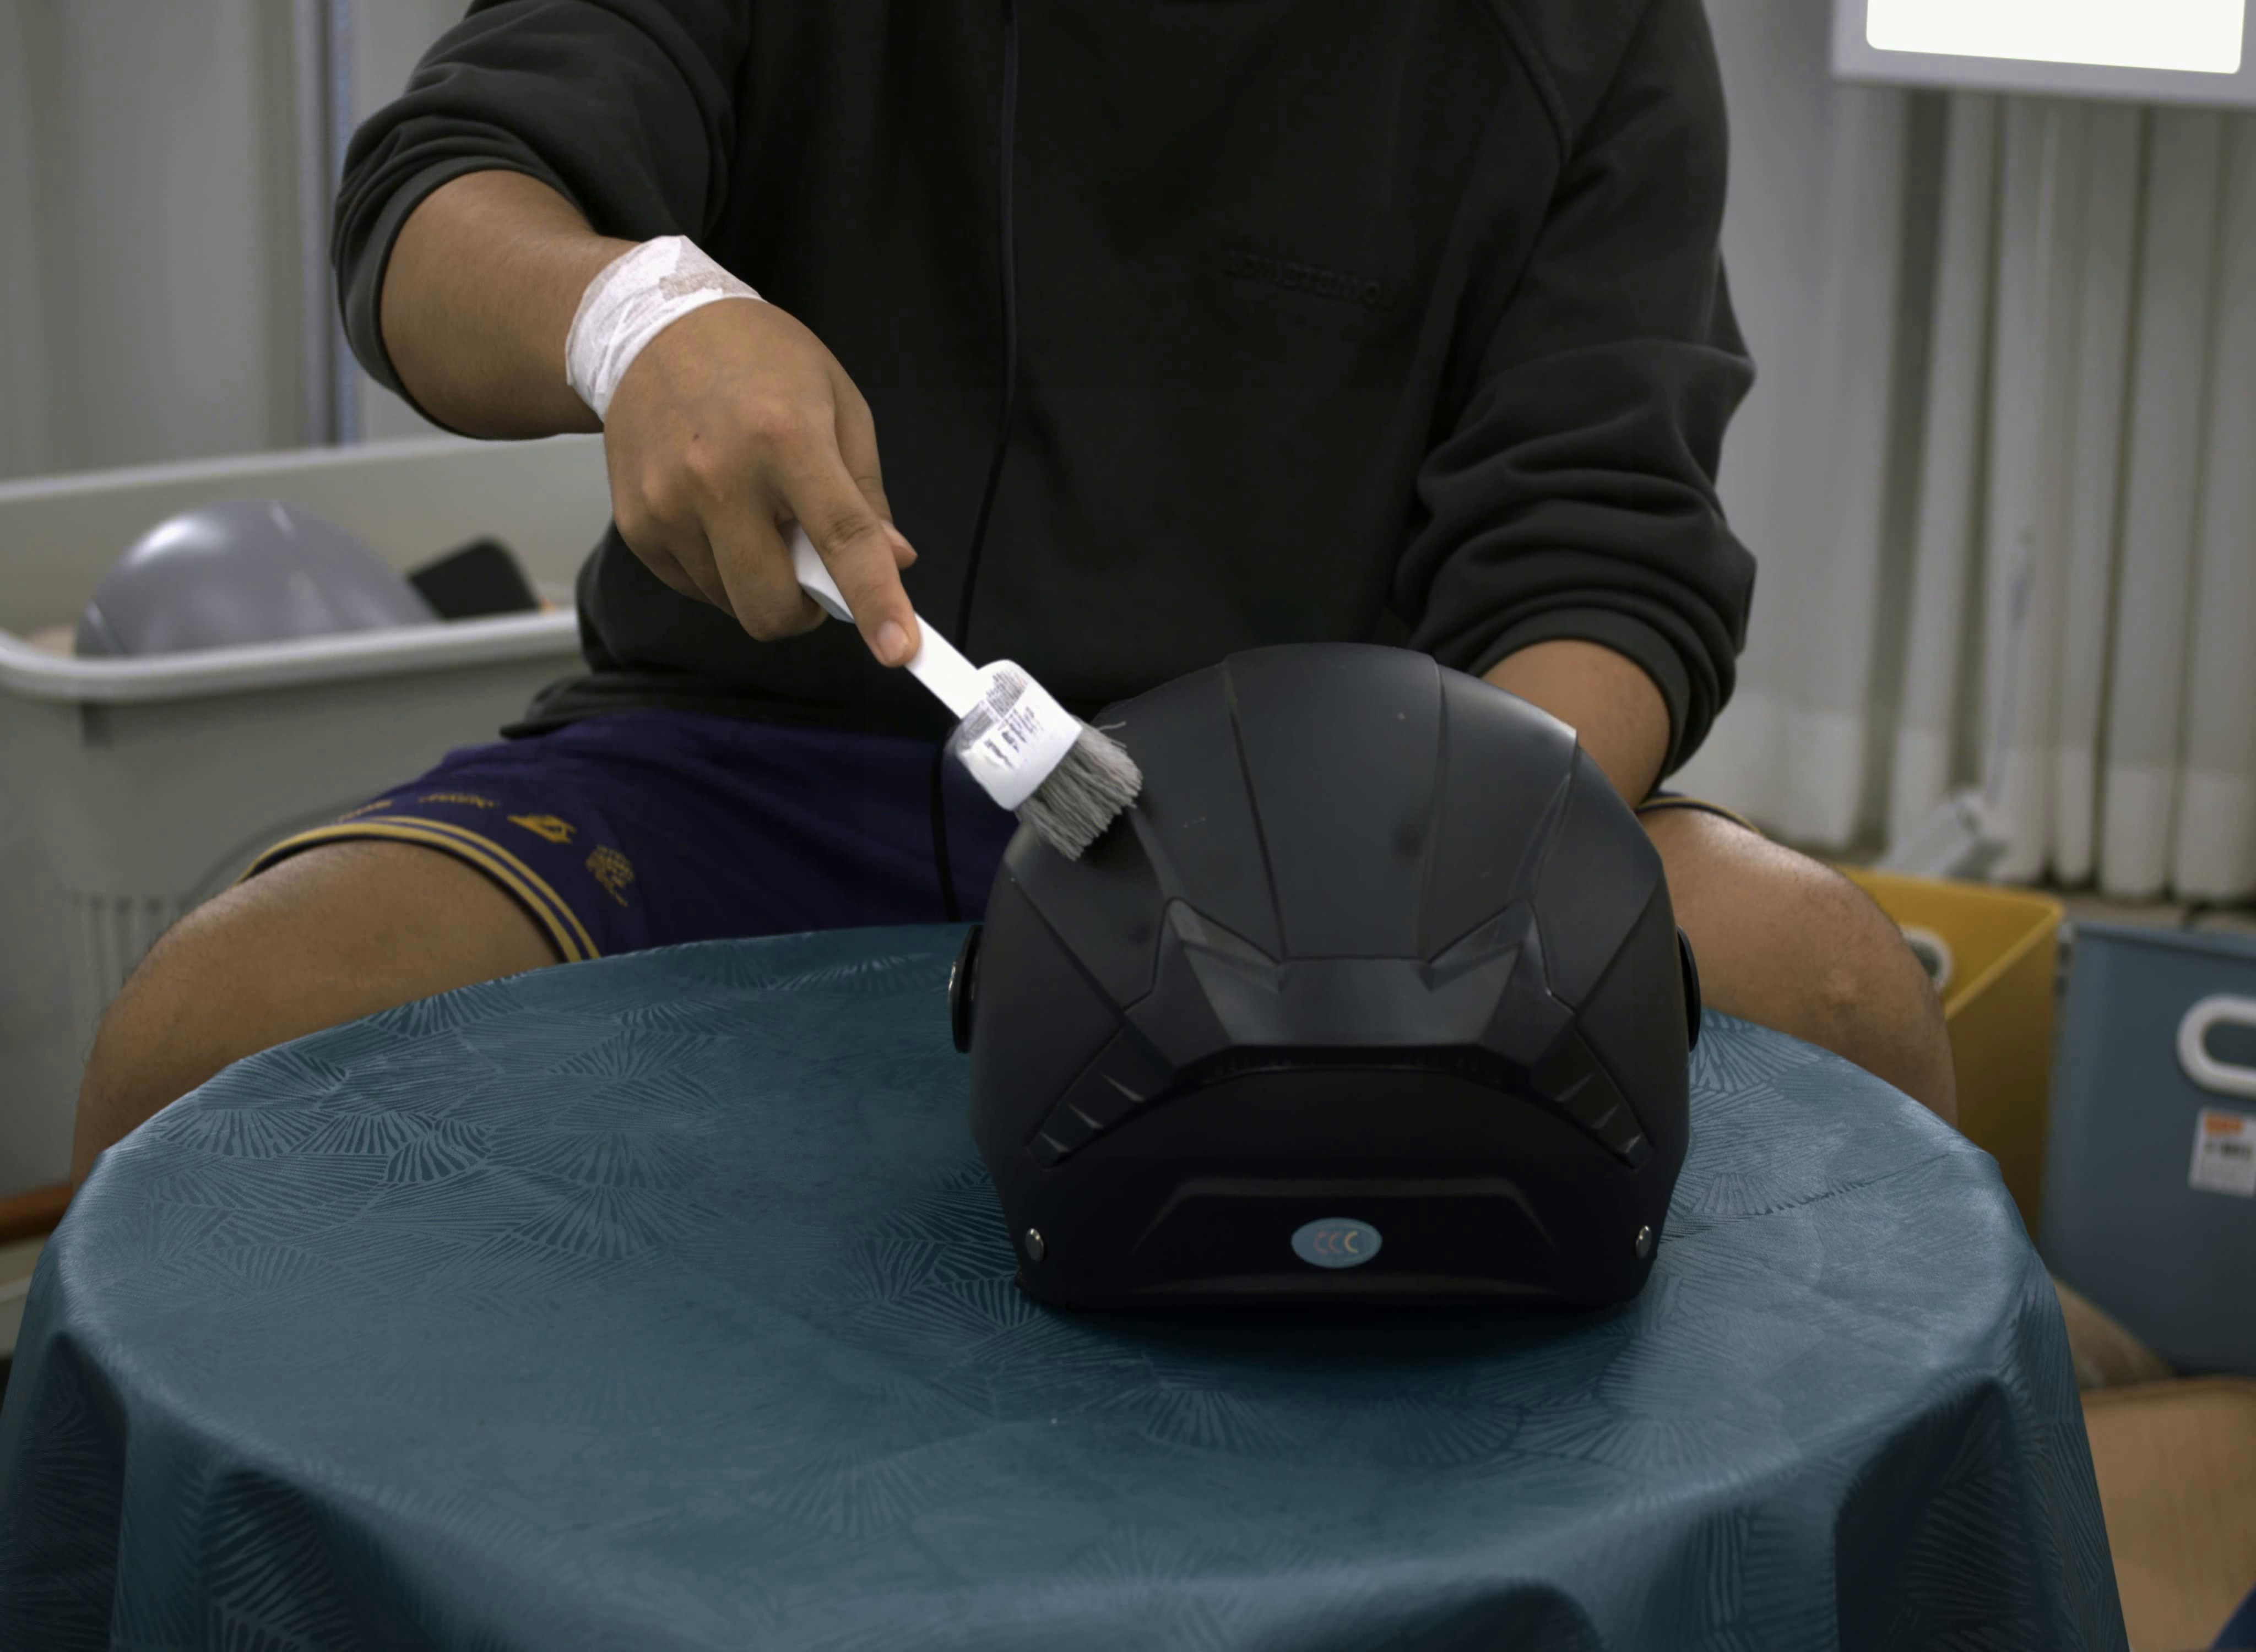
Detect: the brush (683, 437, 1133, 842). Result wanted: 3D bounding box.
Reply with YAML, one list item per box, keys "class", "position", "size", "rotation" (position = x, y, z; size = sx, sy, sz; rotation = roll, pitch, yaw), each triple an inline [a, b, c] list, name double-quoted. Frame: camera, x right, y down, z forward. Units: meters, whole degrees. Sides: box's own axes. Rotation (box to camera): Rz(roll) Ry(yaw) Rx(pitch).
- class: "brush"
  position: [-0.067, -0.058, 1.580]
  size: [0.051, 0.034, 0.240]
  rotation: [42, -1, -38]

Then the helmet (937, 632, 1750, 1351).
- class: "helmet"
  position: [0.064, 0.032, 1.563]
  size: [0.246, 0.174, 0.274]
  rotation: [2, 32, 0]
